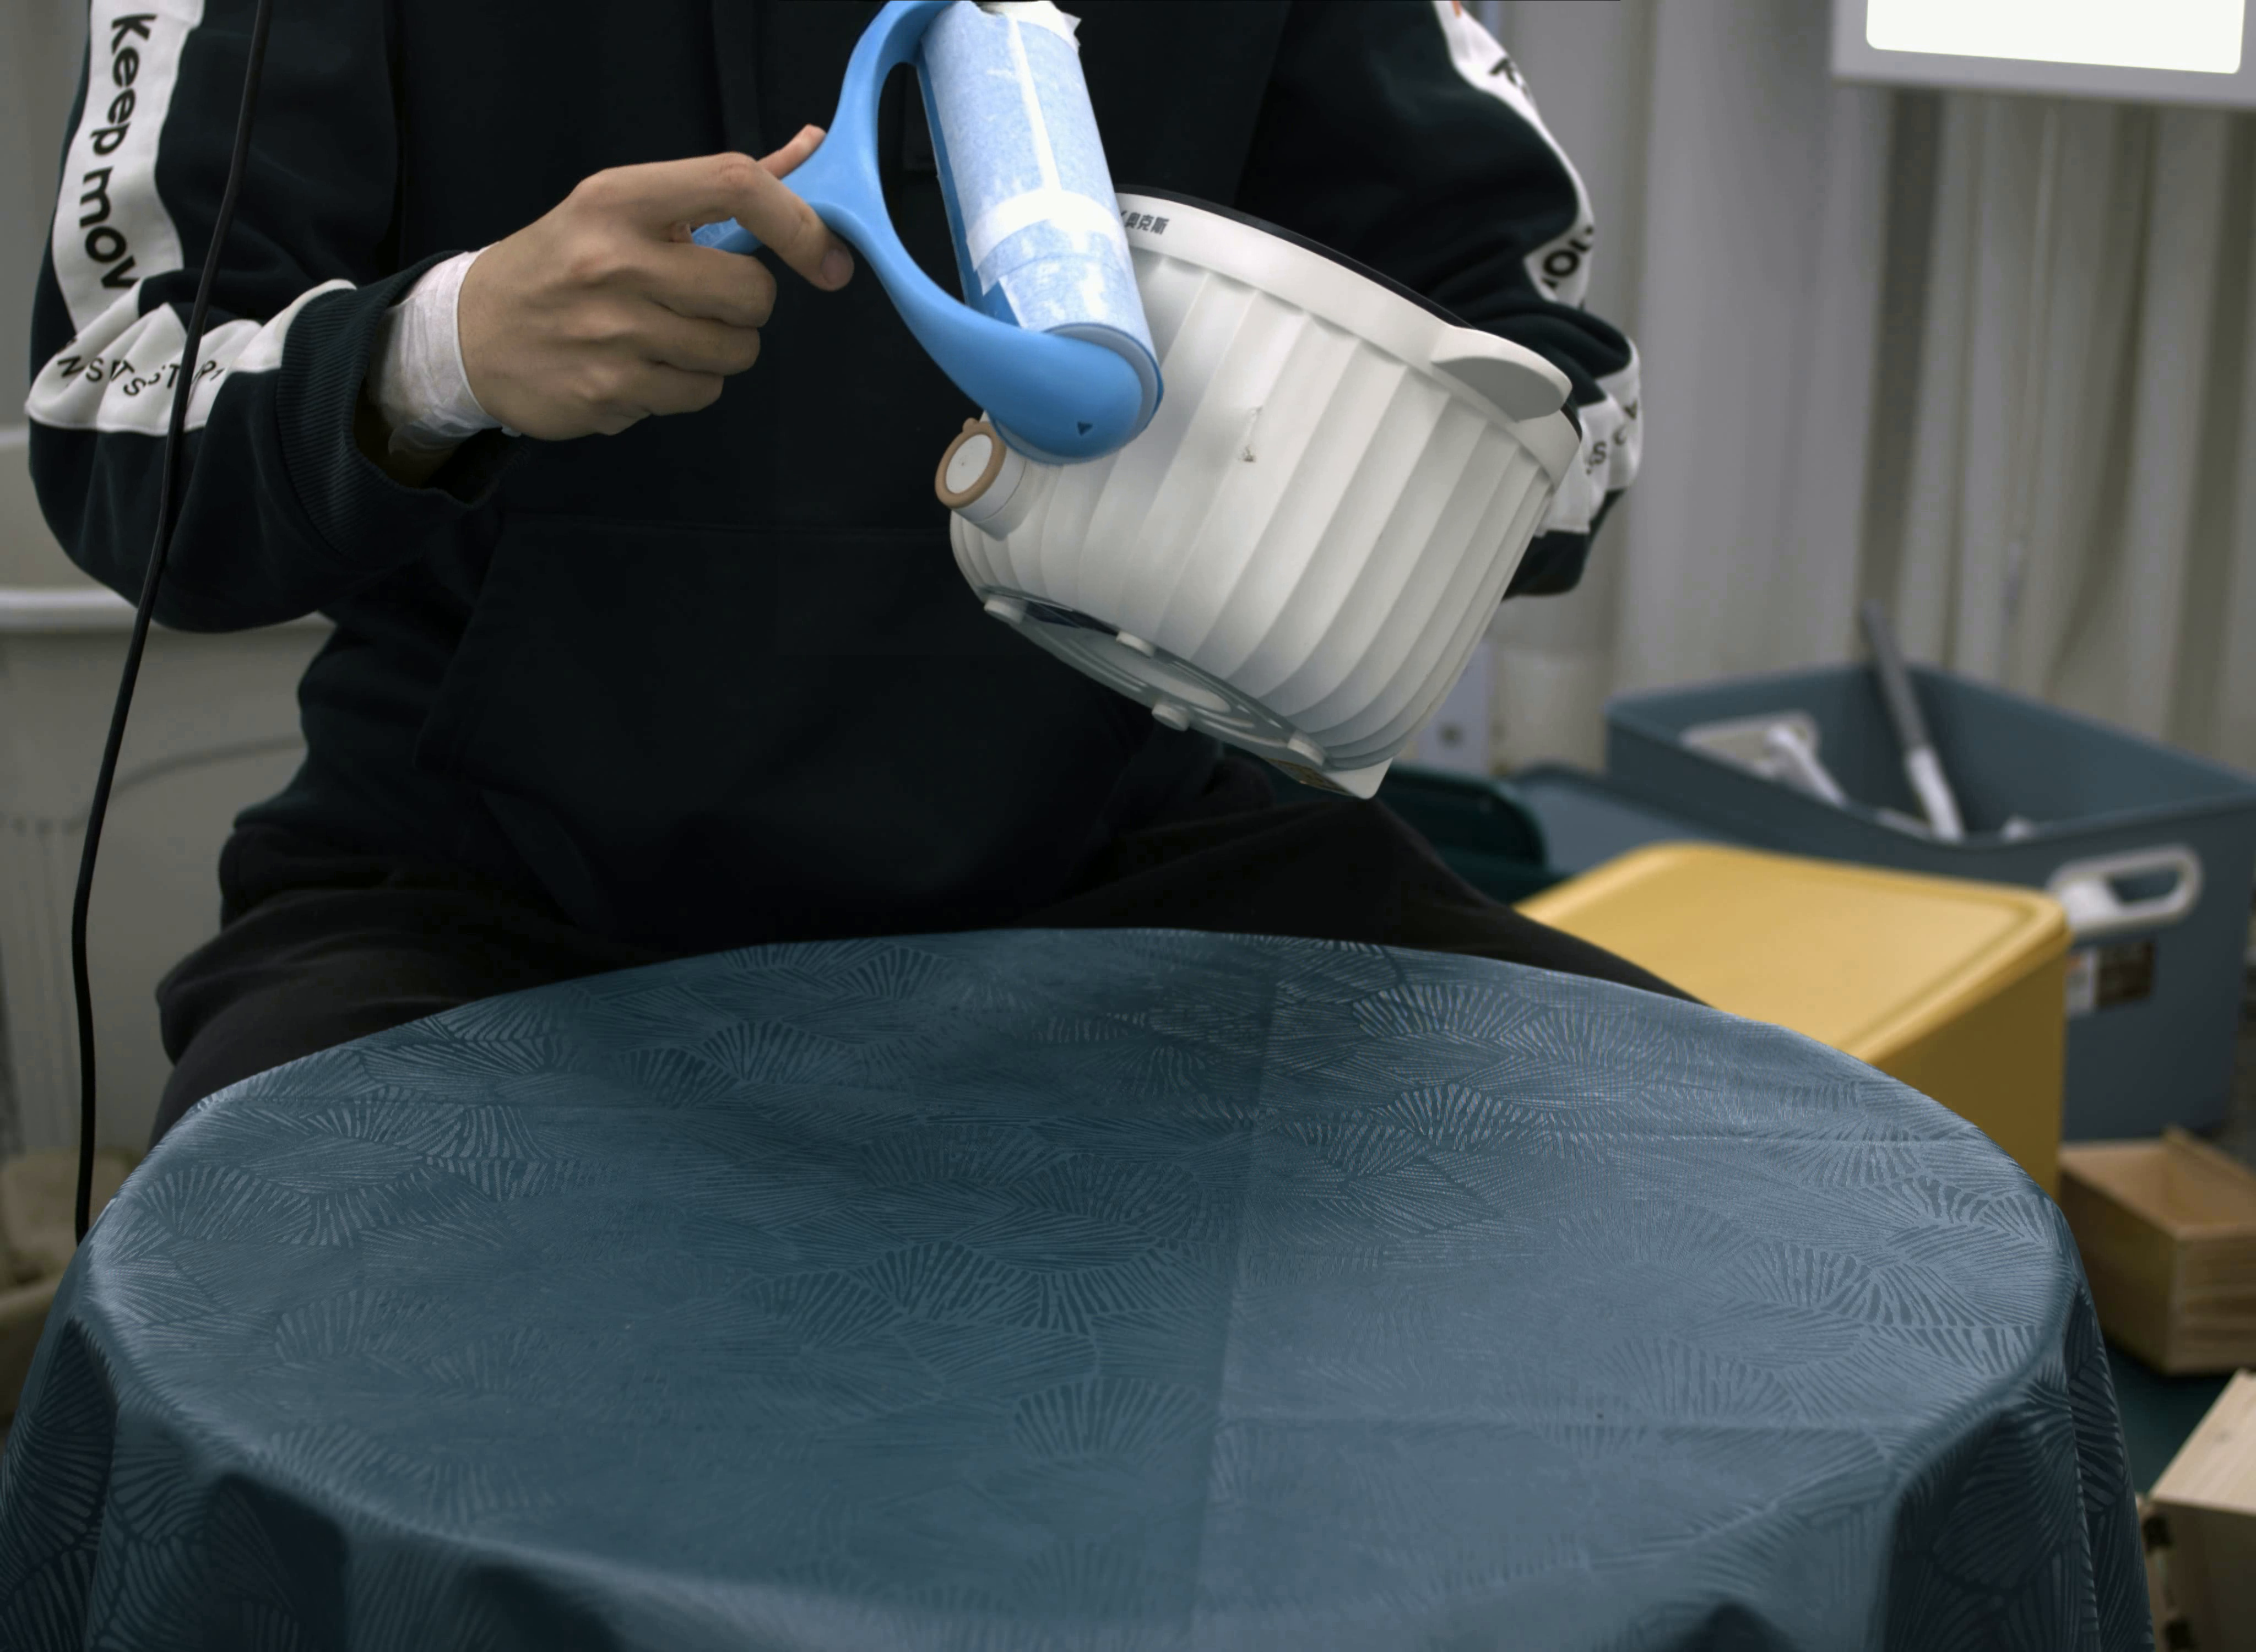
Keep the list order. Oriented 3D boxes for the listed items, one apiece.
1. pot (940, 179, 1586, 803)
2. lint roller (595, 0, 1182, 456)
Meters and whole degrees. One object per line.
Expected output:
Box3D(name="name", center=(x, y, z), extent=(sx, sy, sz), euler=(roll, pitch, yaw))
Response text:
Box3D(name="pot", center=(0.035, -0.108, 1.706), extent=(0.193, 0.142, 0.237), euler=(36, -13, -35))
Box3D(name="lint roller", center=(-0.084, -0.180, 1.650), extent=(0.180, 0.069, 0.226), euler=(-14, 43, -5))
